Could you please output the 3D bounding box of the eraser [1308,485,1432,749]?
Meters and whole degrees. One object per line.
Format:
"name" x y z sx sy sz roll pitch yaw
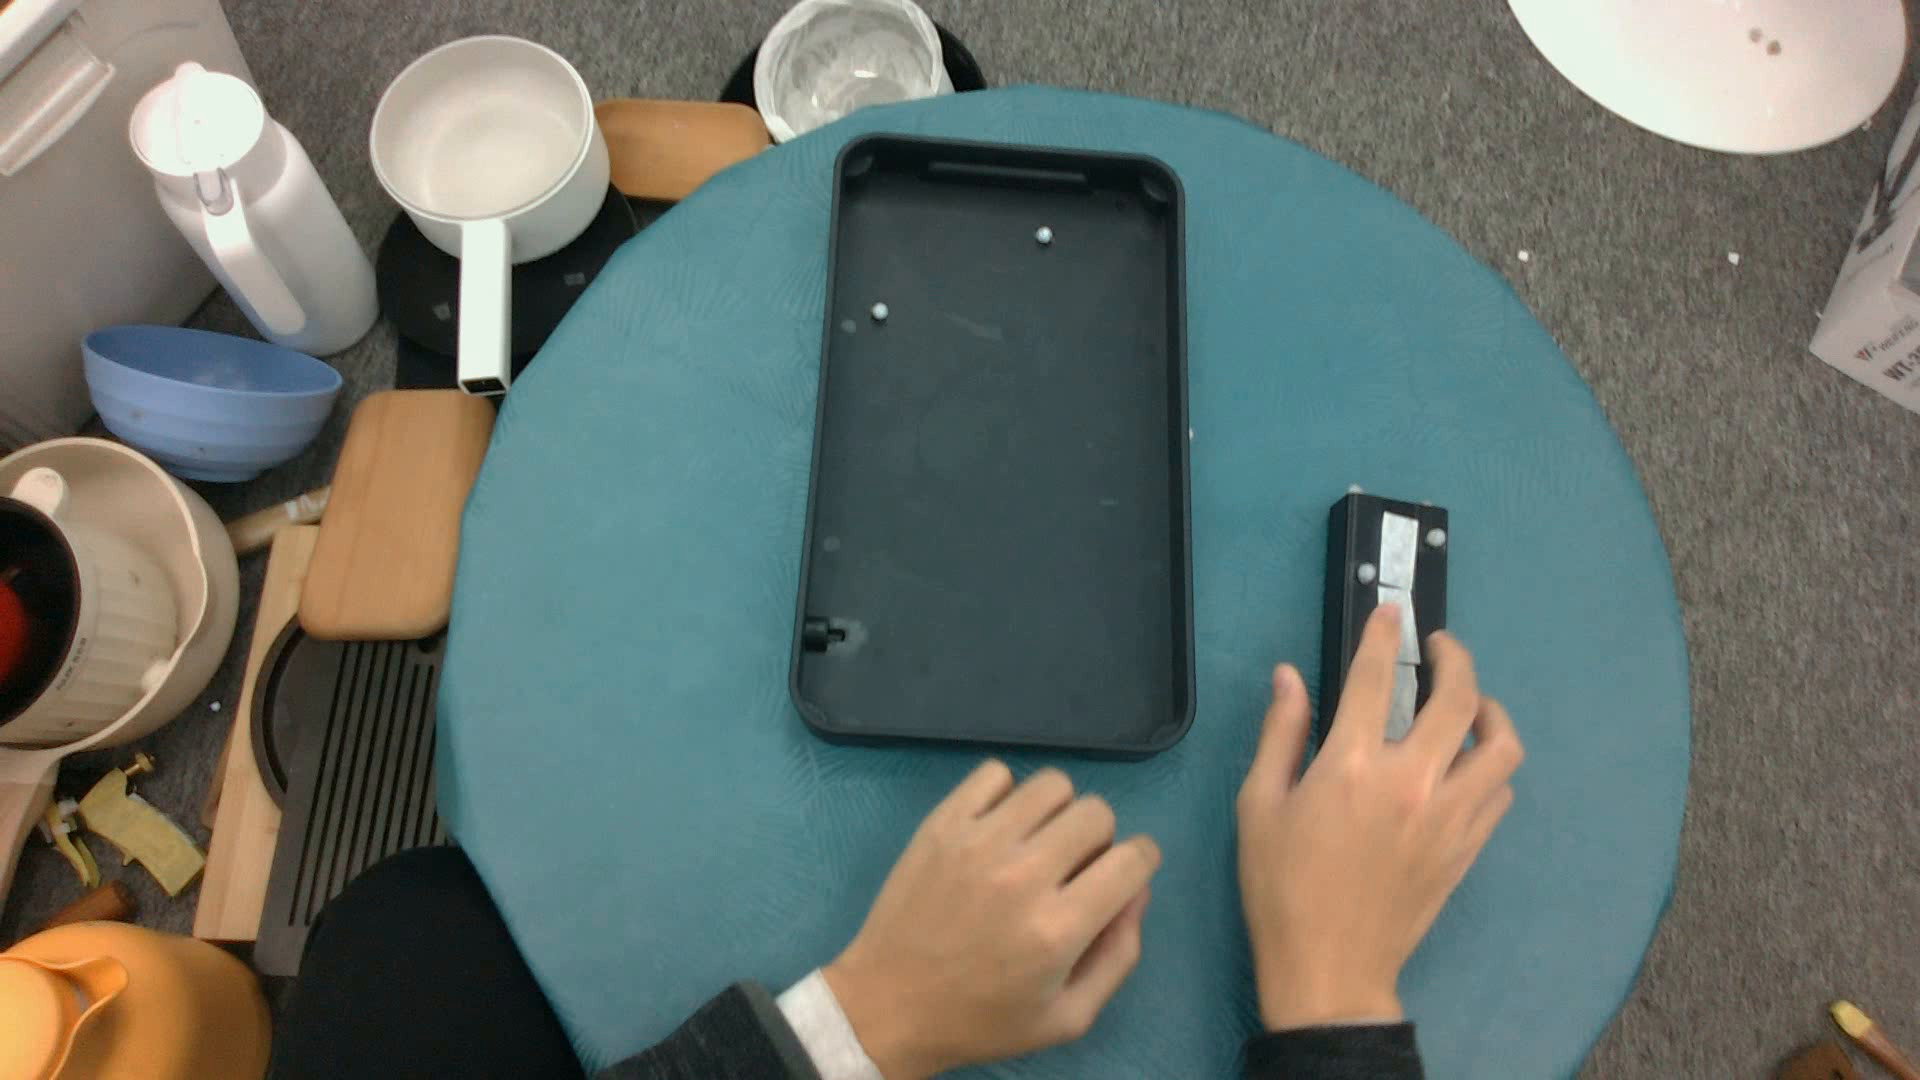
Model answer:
"eraser" 0.197 0.035 0.662 0.053 0.030 0.126 8 69 0

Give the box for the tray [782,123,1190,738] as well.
"tray" 0.012 -0.061 0.680 0.184 0.037 0.319 2 68 -5
